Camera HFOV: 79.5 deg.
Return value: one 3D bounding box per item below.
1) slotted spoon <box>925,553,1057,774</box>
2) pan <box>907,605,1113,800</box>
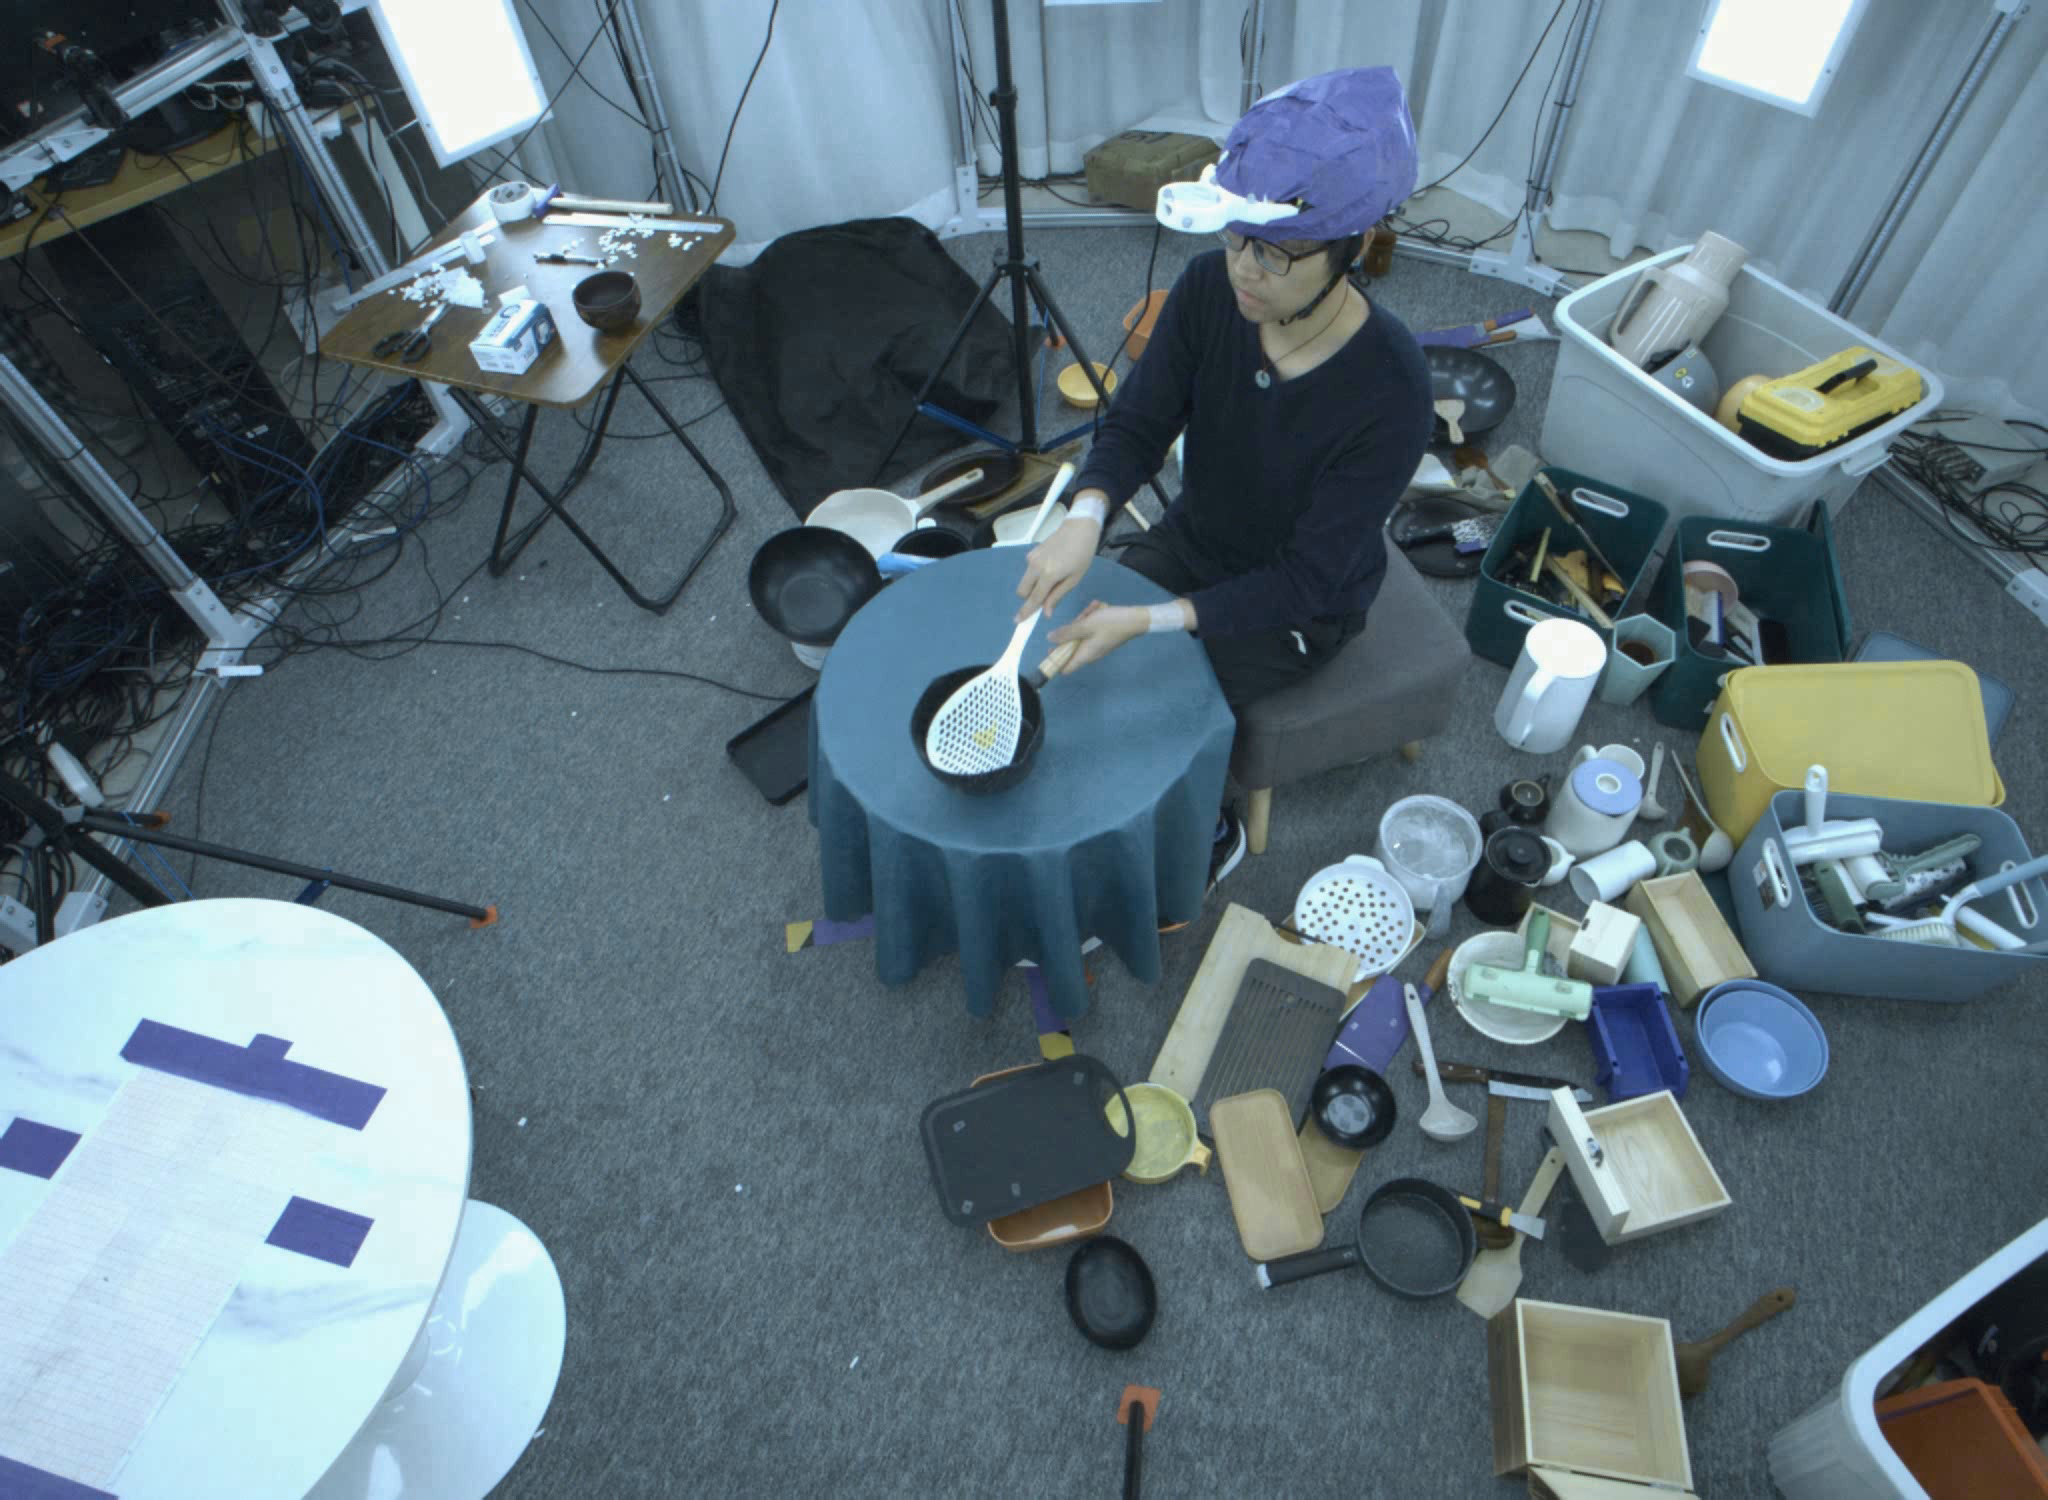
[{"bbox_3d":[-0.025,-0.107,1.693,0.134,0.051,0.348,26,101,22],"label":"slotted spoon"},{"bbox_3d":[-0.004,-0.071,1.714,0.344,0.110,0.203,-40,59,-14],"label":"pan"}]
